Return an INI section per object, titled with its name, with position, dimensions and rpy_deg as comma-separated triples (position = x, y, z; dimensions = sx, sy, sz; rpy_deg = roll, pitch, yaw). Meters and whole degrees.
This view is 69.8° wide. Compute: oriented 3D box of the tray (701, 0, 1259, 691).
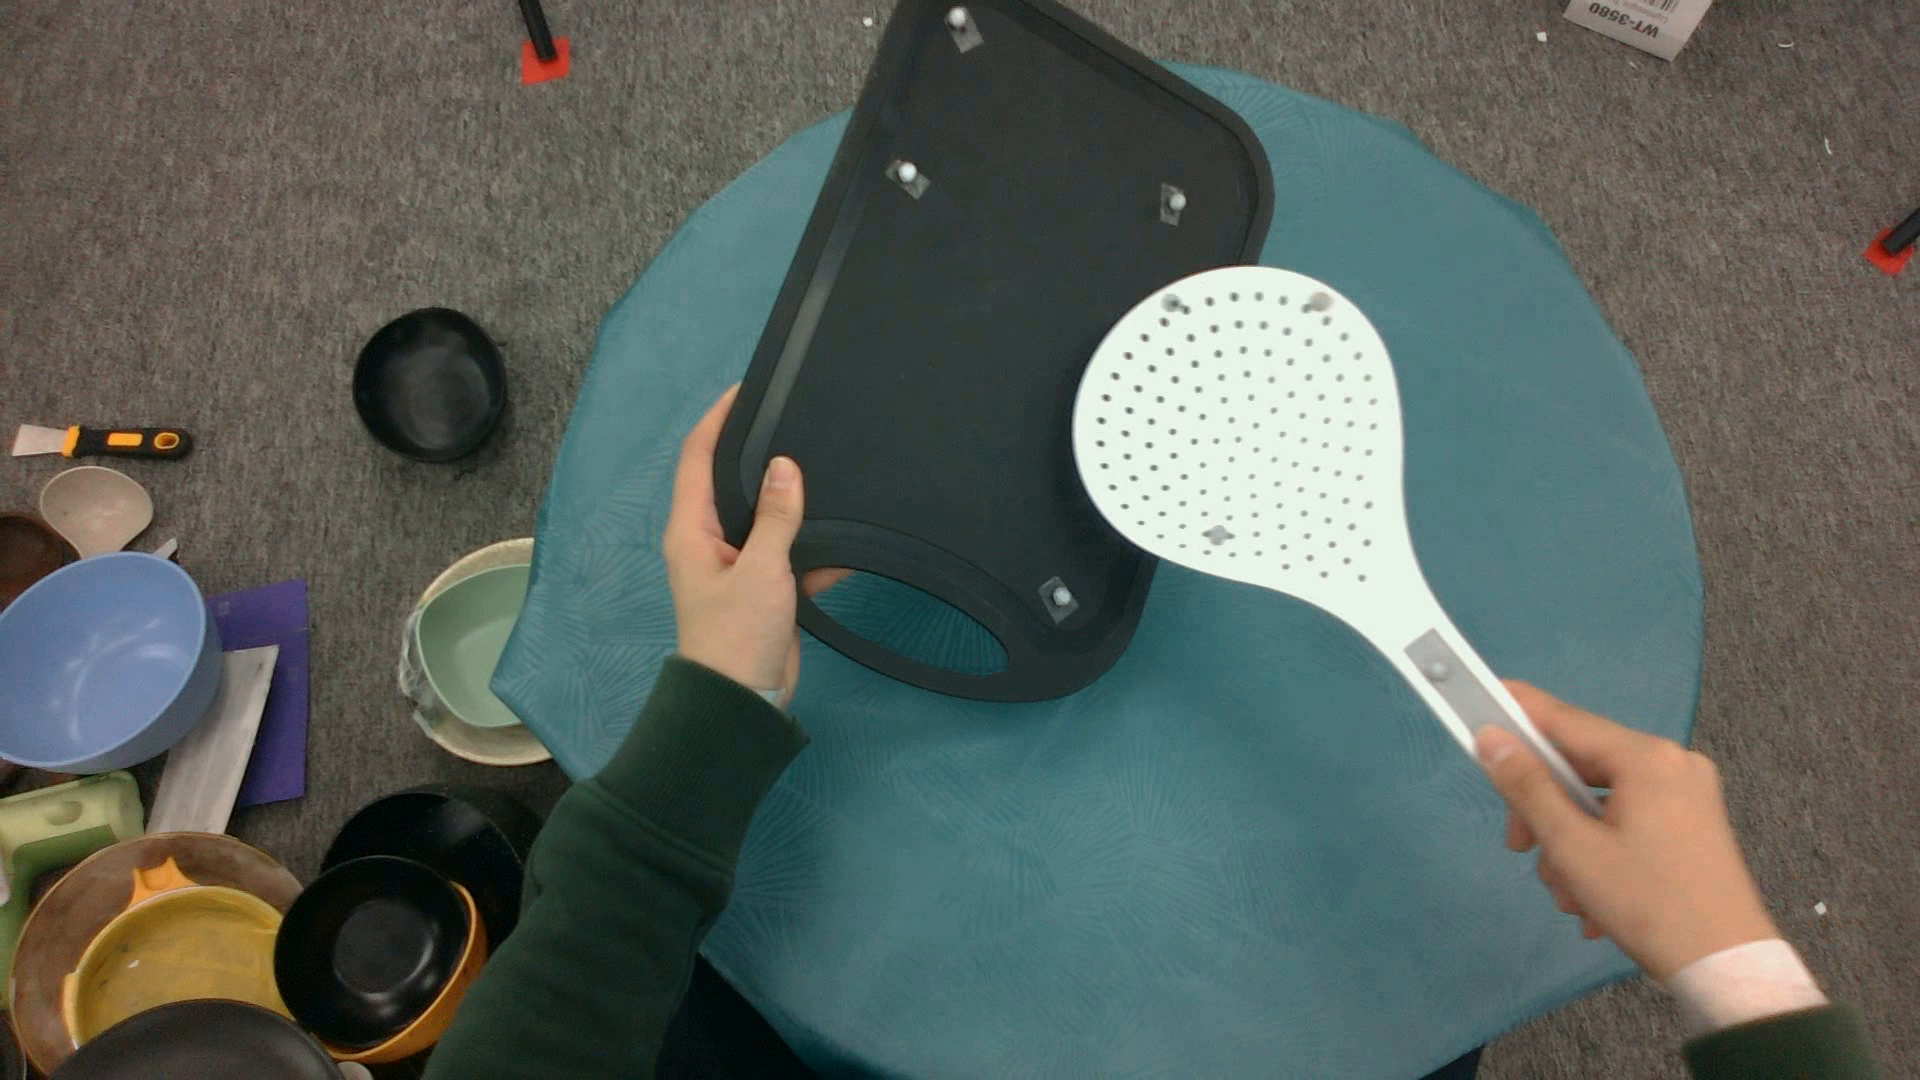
[tray]
position = 0.019, -0.095, 0.631
dimensions = 0.211, 0.010, 0.326
rpy_deg = 25, 75, -17

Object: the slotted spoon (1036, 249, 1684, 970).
[slotted spoon]
position = 0.163, 0.021, 0.570
dimensions = 0.136, 0.045, 0.350
rpy_deg = -38, 67, 4
